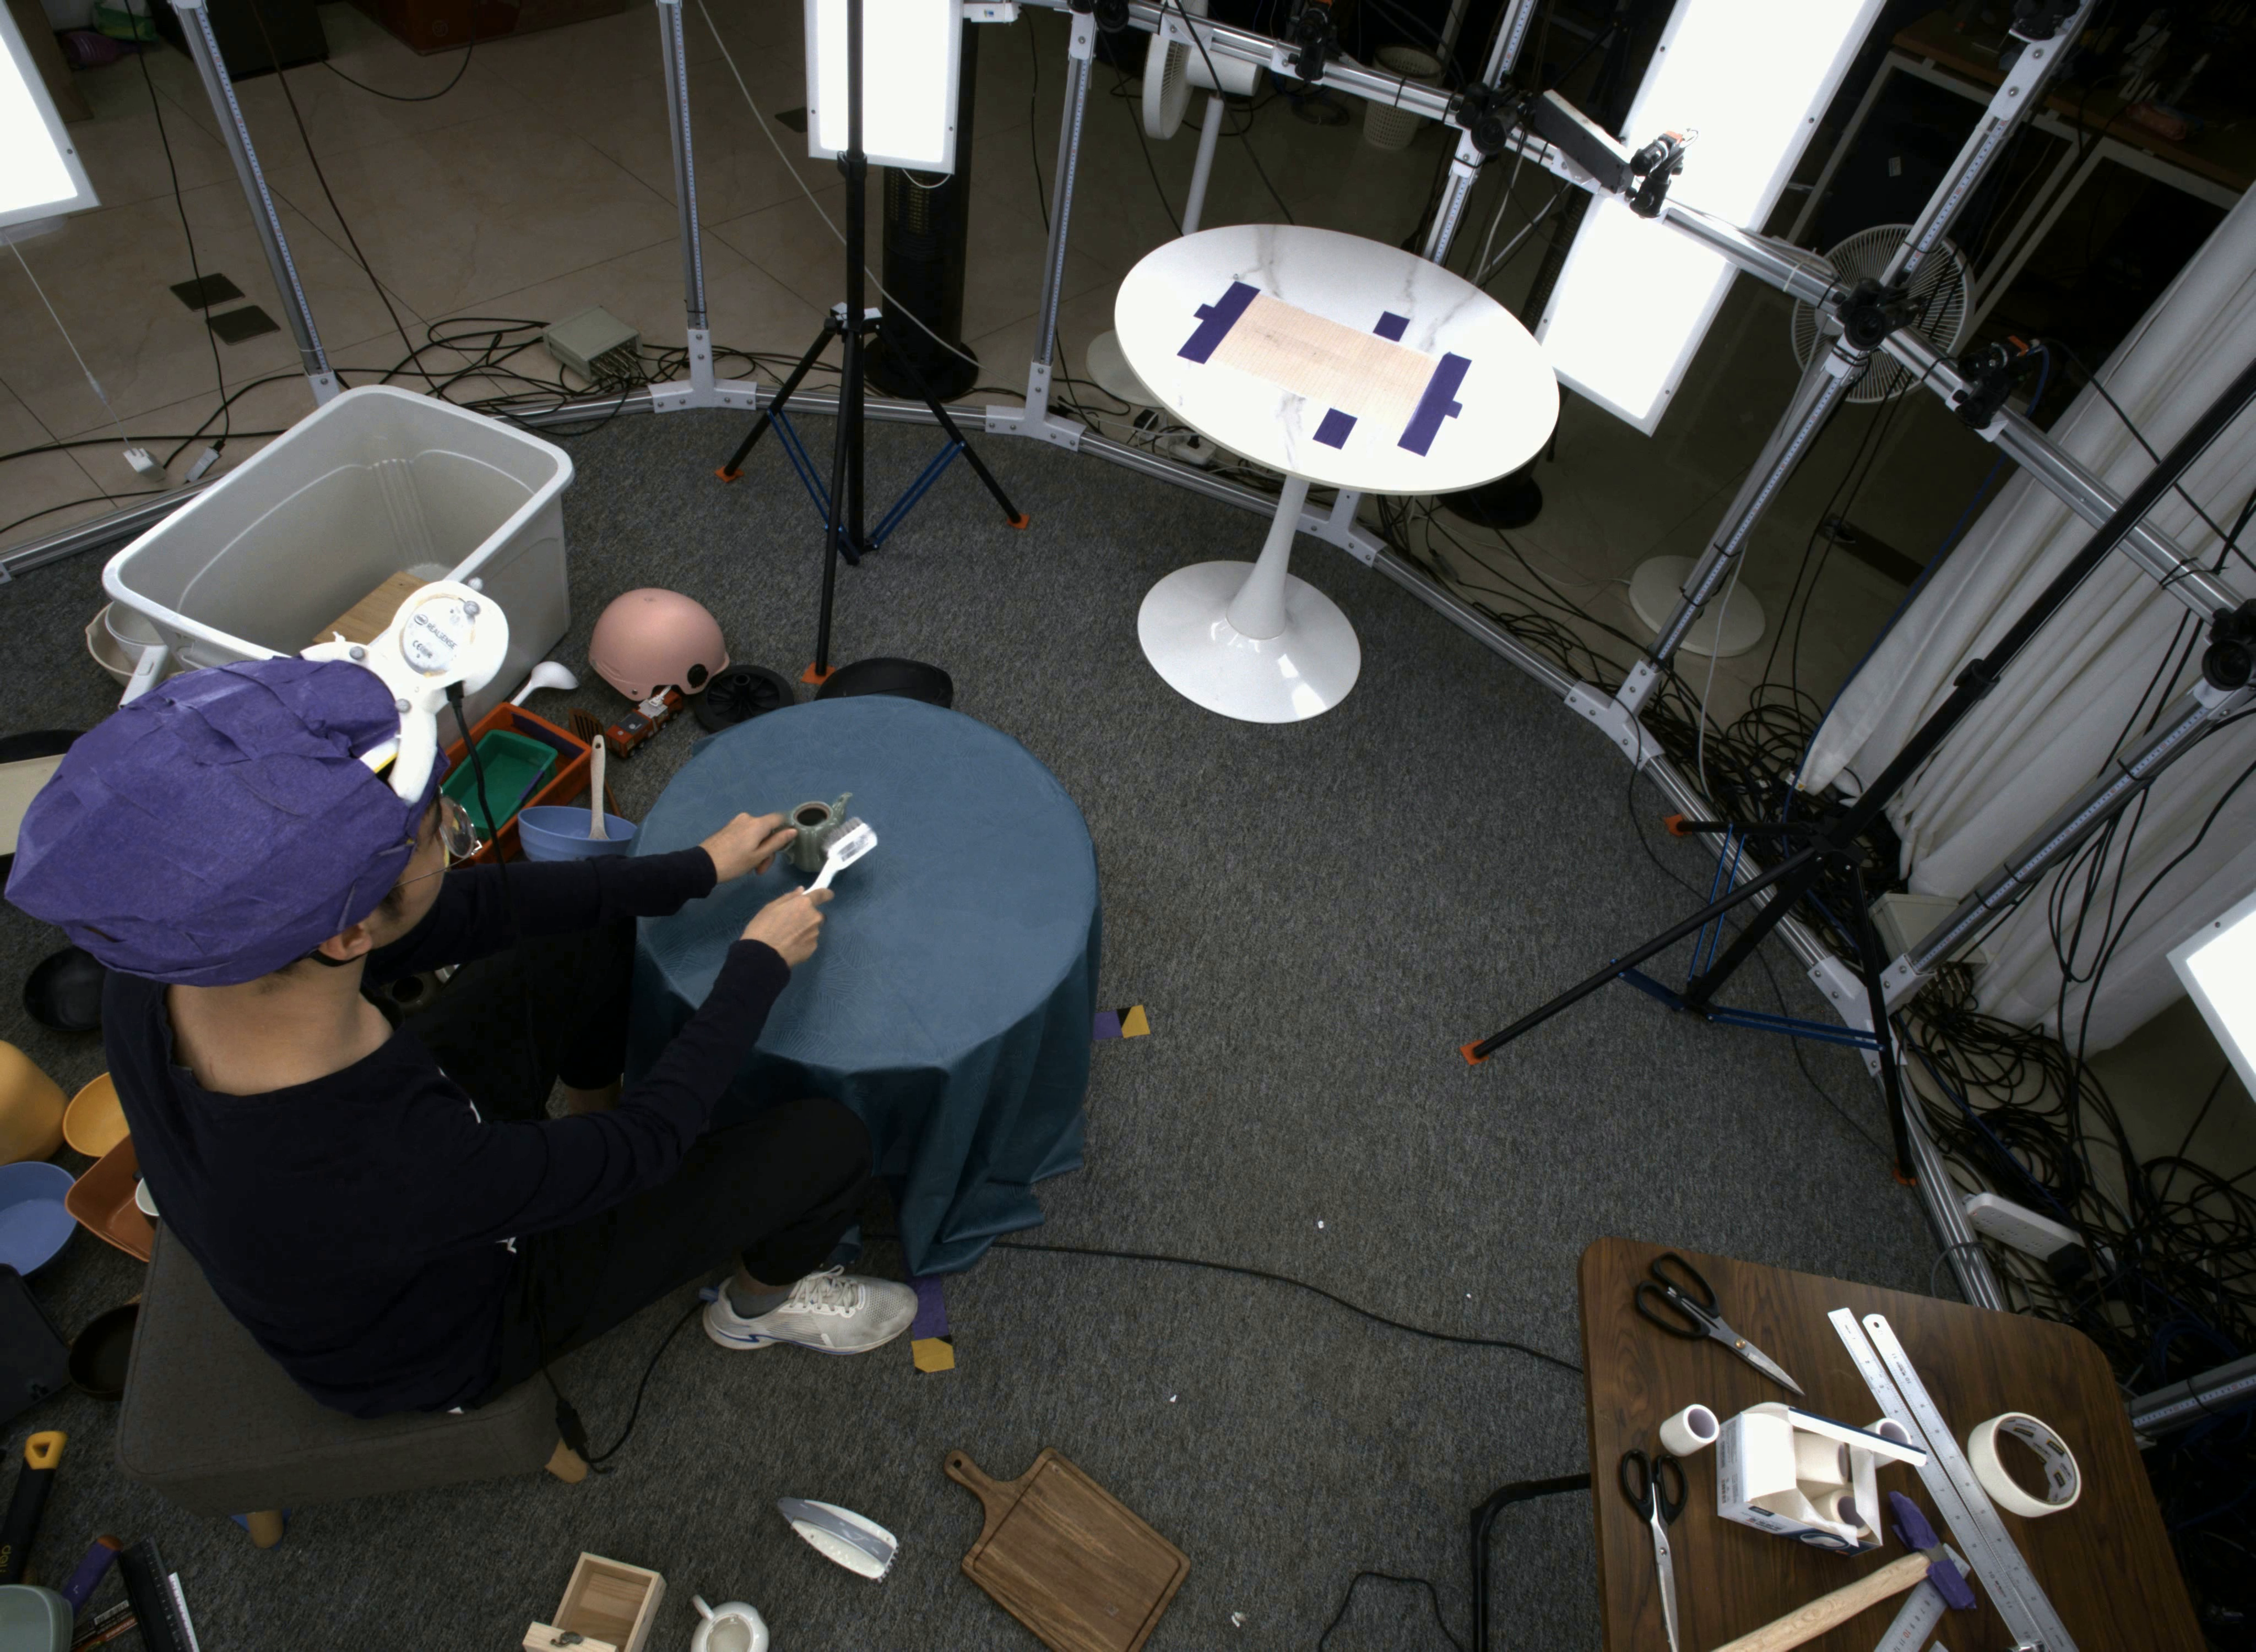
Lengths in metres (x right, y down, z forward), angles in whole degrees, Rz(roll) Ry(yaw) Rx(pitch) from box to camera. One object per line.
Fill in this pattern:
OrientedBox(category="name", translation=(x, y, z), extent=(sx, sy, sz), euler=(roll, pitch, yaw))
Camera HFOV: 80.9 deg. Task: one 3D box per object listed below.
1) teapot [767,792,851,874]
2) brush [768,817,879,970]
OrientedBox(category="teapot", translation=(-0.404, 0.012, 1.667), extent=(0.077, 0.077, 0.133), euler=(29, 46, 29))
OrientedBox(category="brush", translation=(-0.386, 0.078, 1.595), extent=(0.049, 0.035, 0.242), euler=(13, 48, 22))
